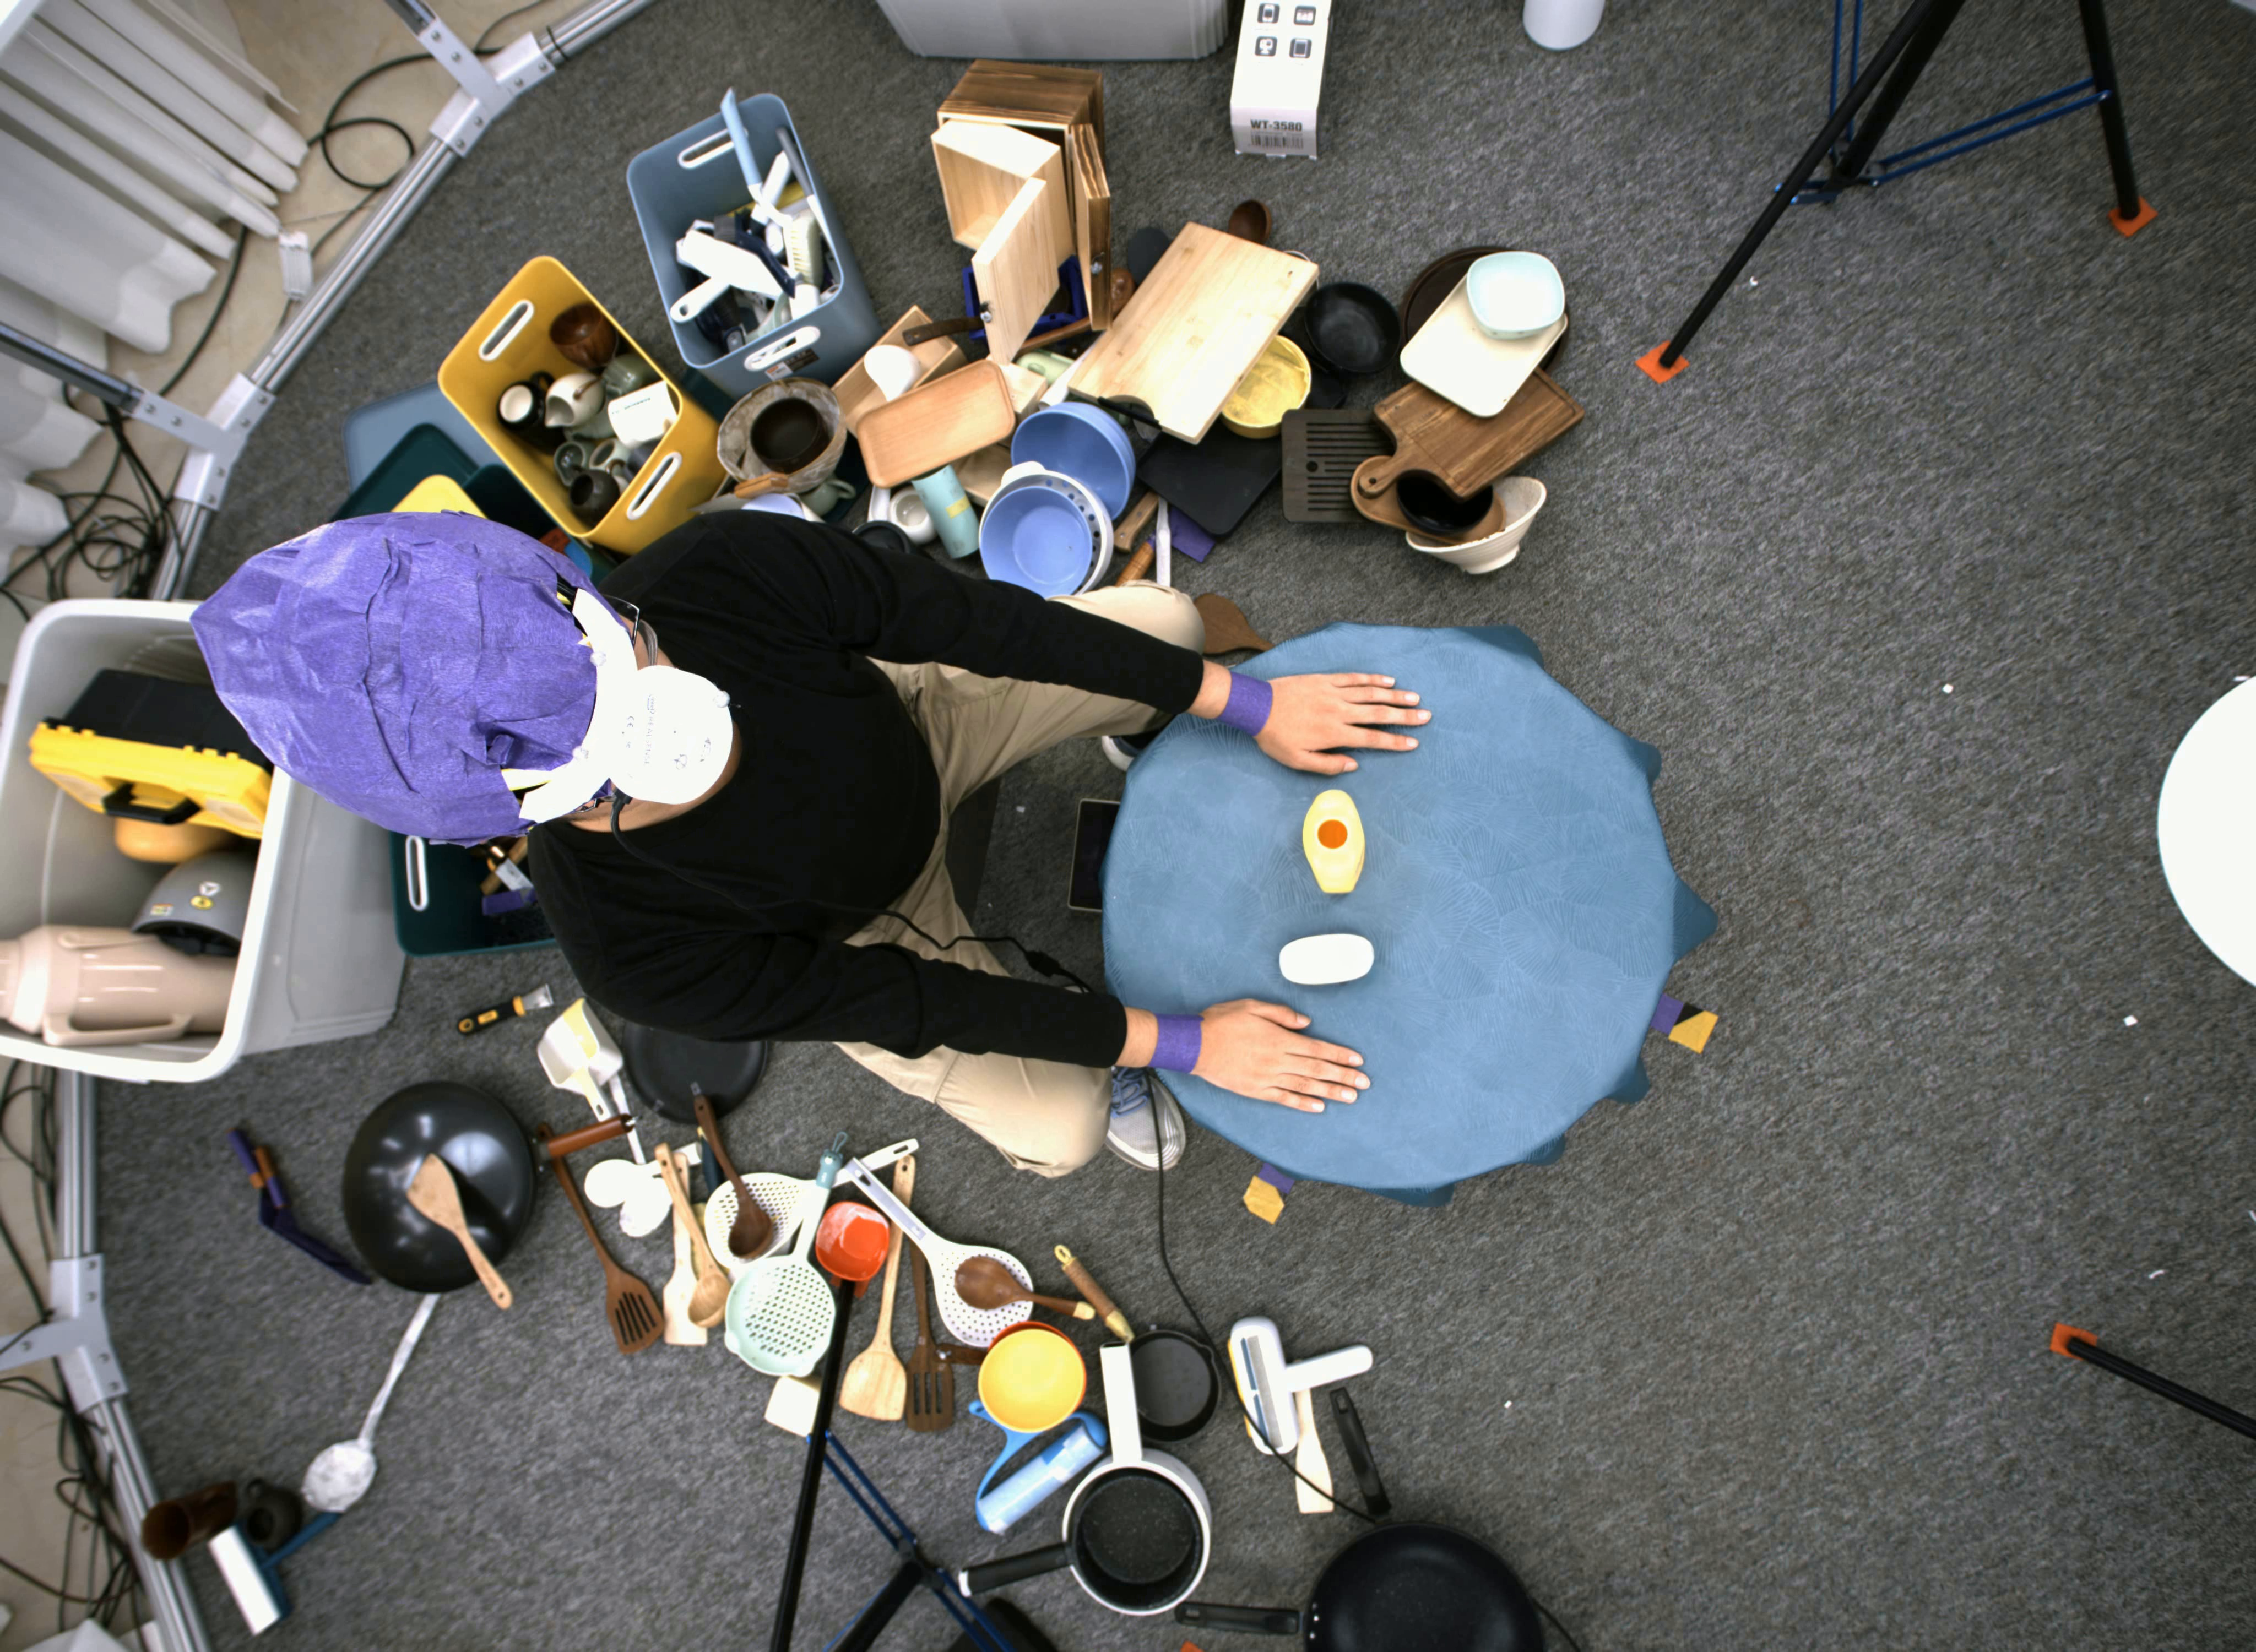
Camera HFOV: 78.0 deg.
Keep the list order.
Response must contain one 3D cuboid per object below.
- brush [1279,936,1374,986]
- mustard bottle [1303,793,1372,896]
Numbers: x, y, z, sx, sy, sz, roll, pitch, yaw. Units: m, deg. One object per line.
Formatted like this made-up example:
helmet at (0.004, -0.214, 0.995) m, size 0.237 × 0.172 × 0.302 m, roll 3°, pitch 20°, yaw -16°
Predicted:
brush at (0.205, 0.138, 1.430) m, size 0.099 × 0.073 × 0.050 m, roll -4°, pitch 83°, yaw 9°
mustard bottle at (0.211, 0.018, 1.388) m, size 0.059 × 0.172 × 0.098 m, roll -6°, pitch 85°, yaw 13°
